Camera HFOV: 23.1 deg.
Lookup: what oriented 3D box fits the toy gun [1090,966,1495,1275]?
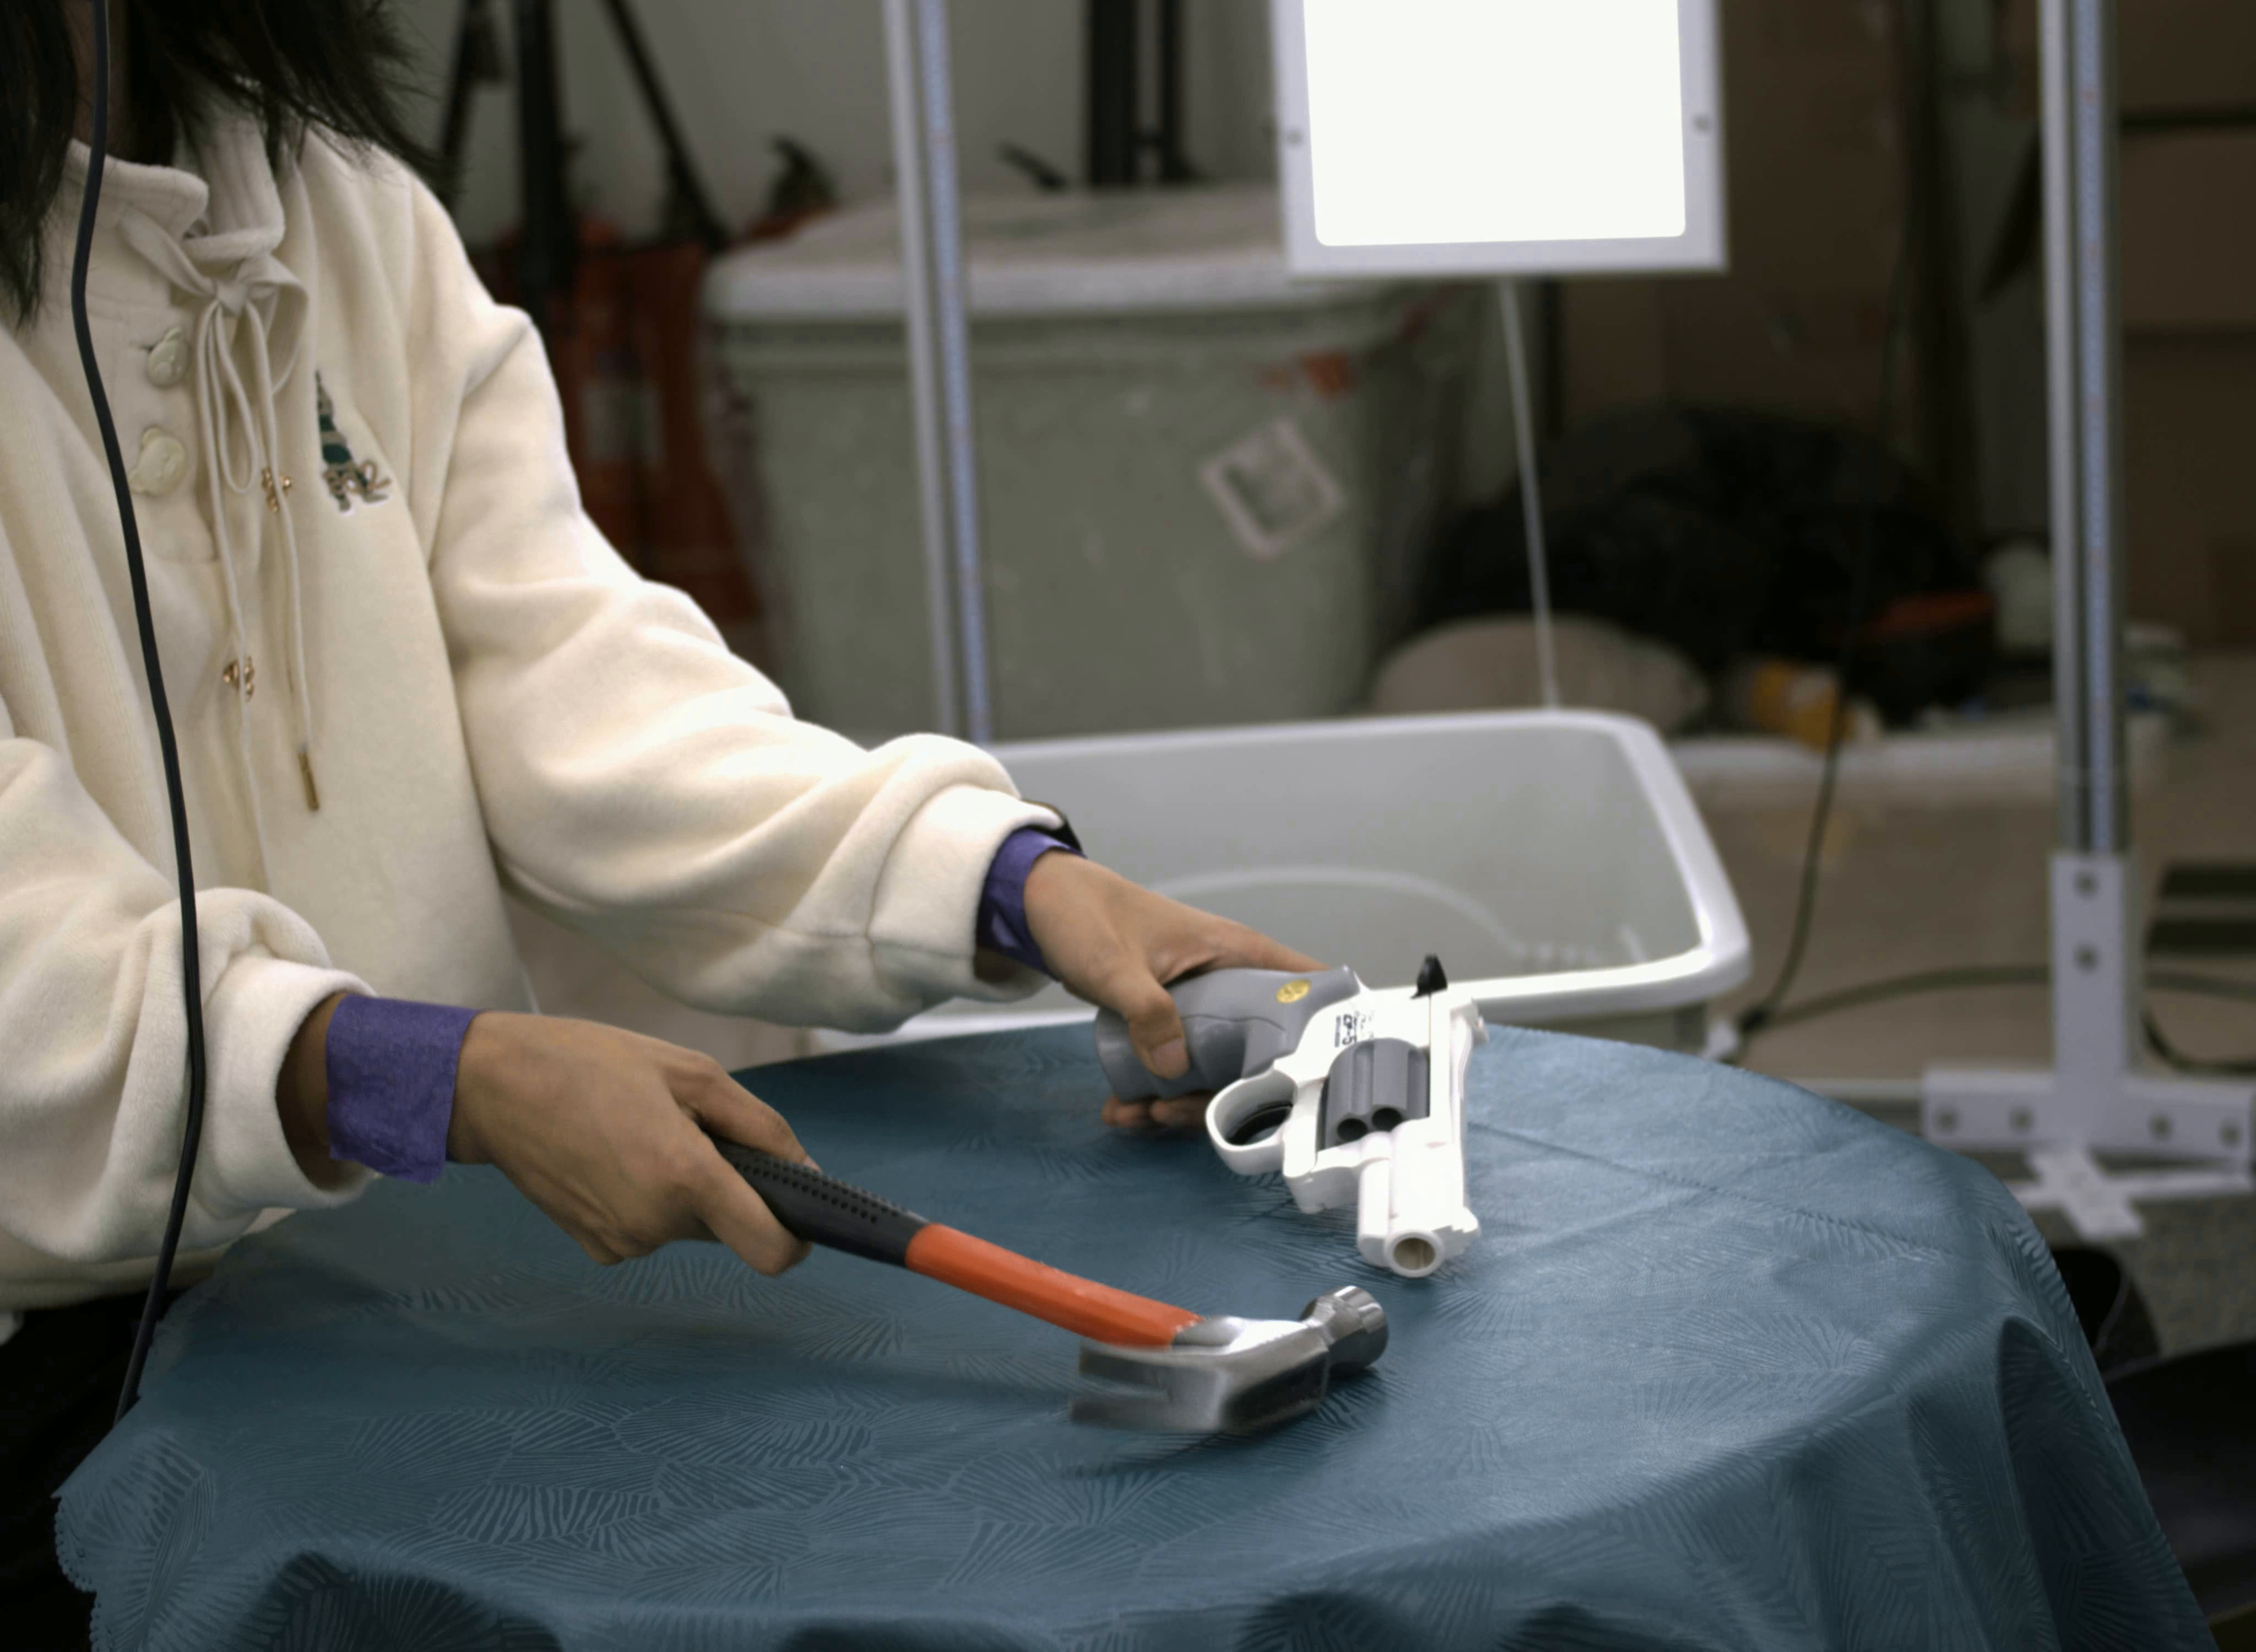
[{"bbox_3d":[0.056,0.098,1.875,0.143,0.038,0.208,-20,29,13],"label":"toy gun"}]

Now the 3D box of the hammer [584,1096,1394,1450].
[{"bbox_3d":[-0.059,0.134,1.730,0.282,0.026,0.108,17,30,34],"label":"hammer"}]
